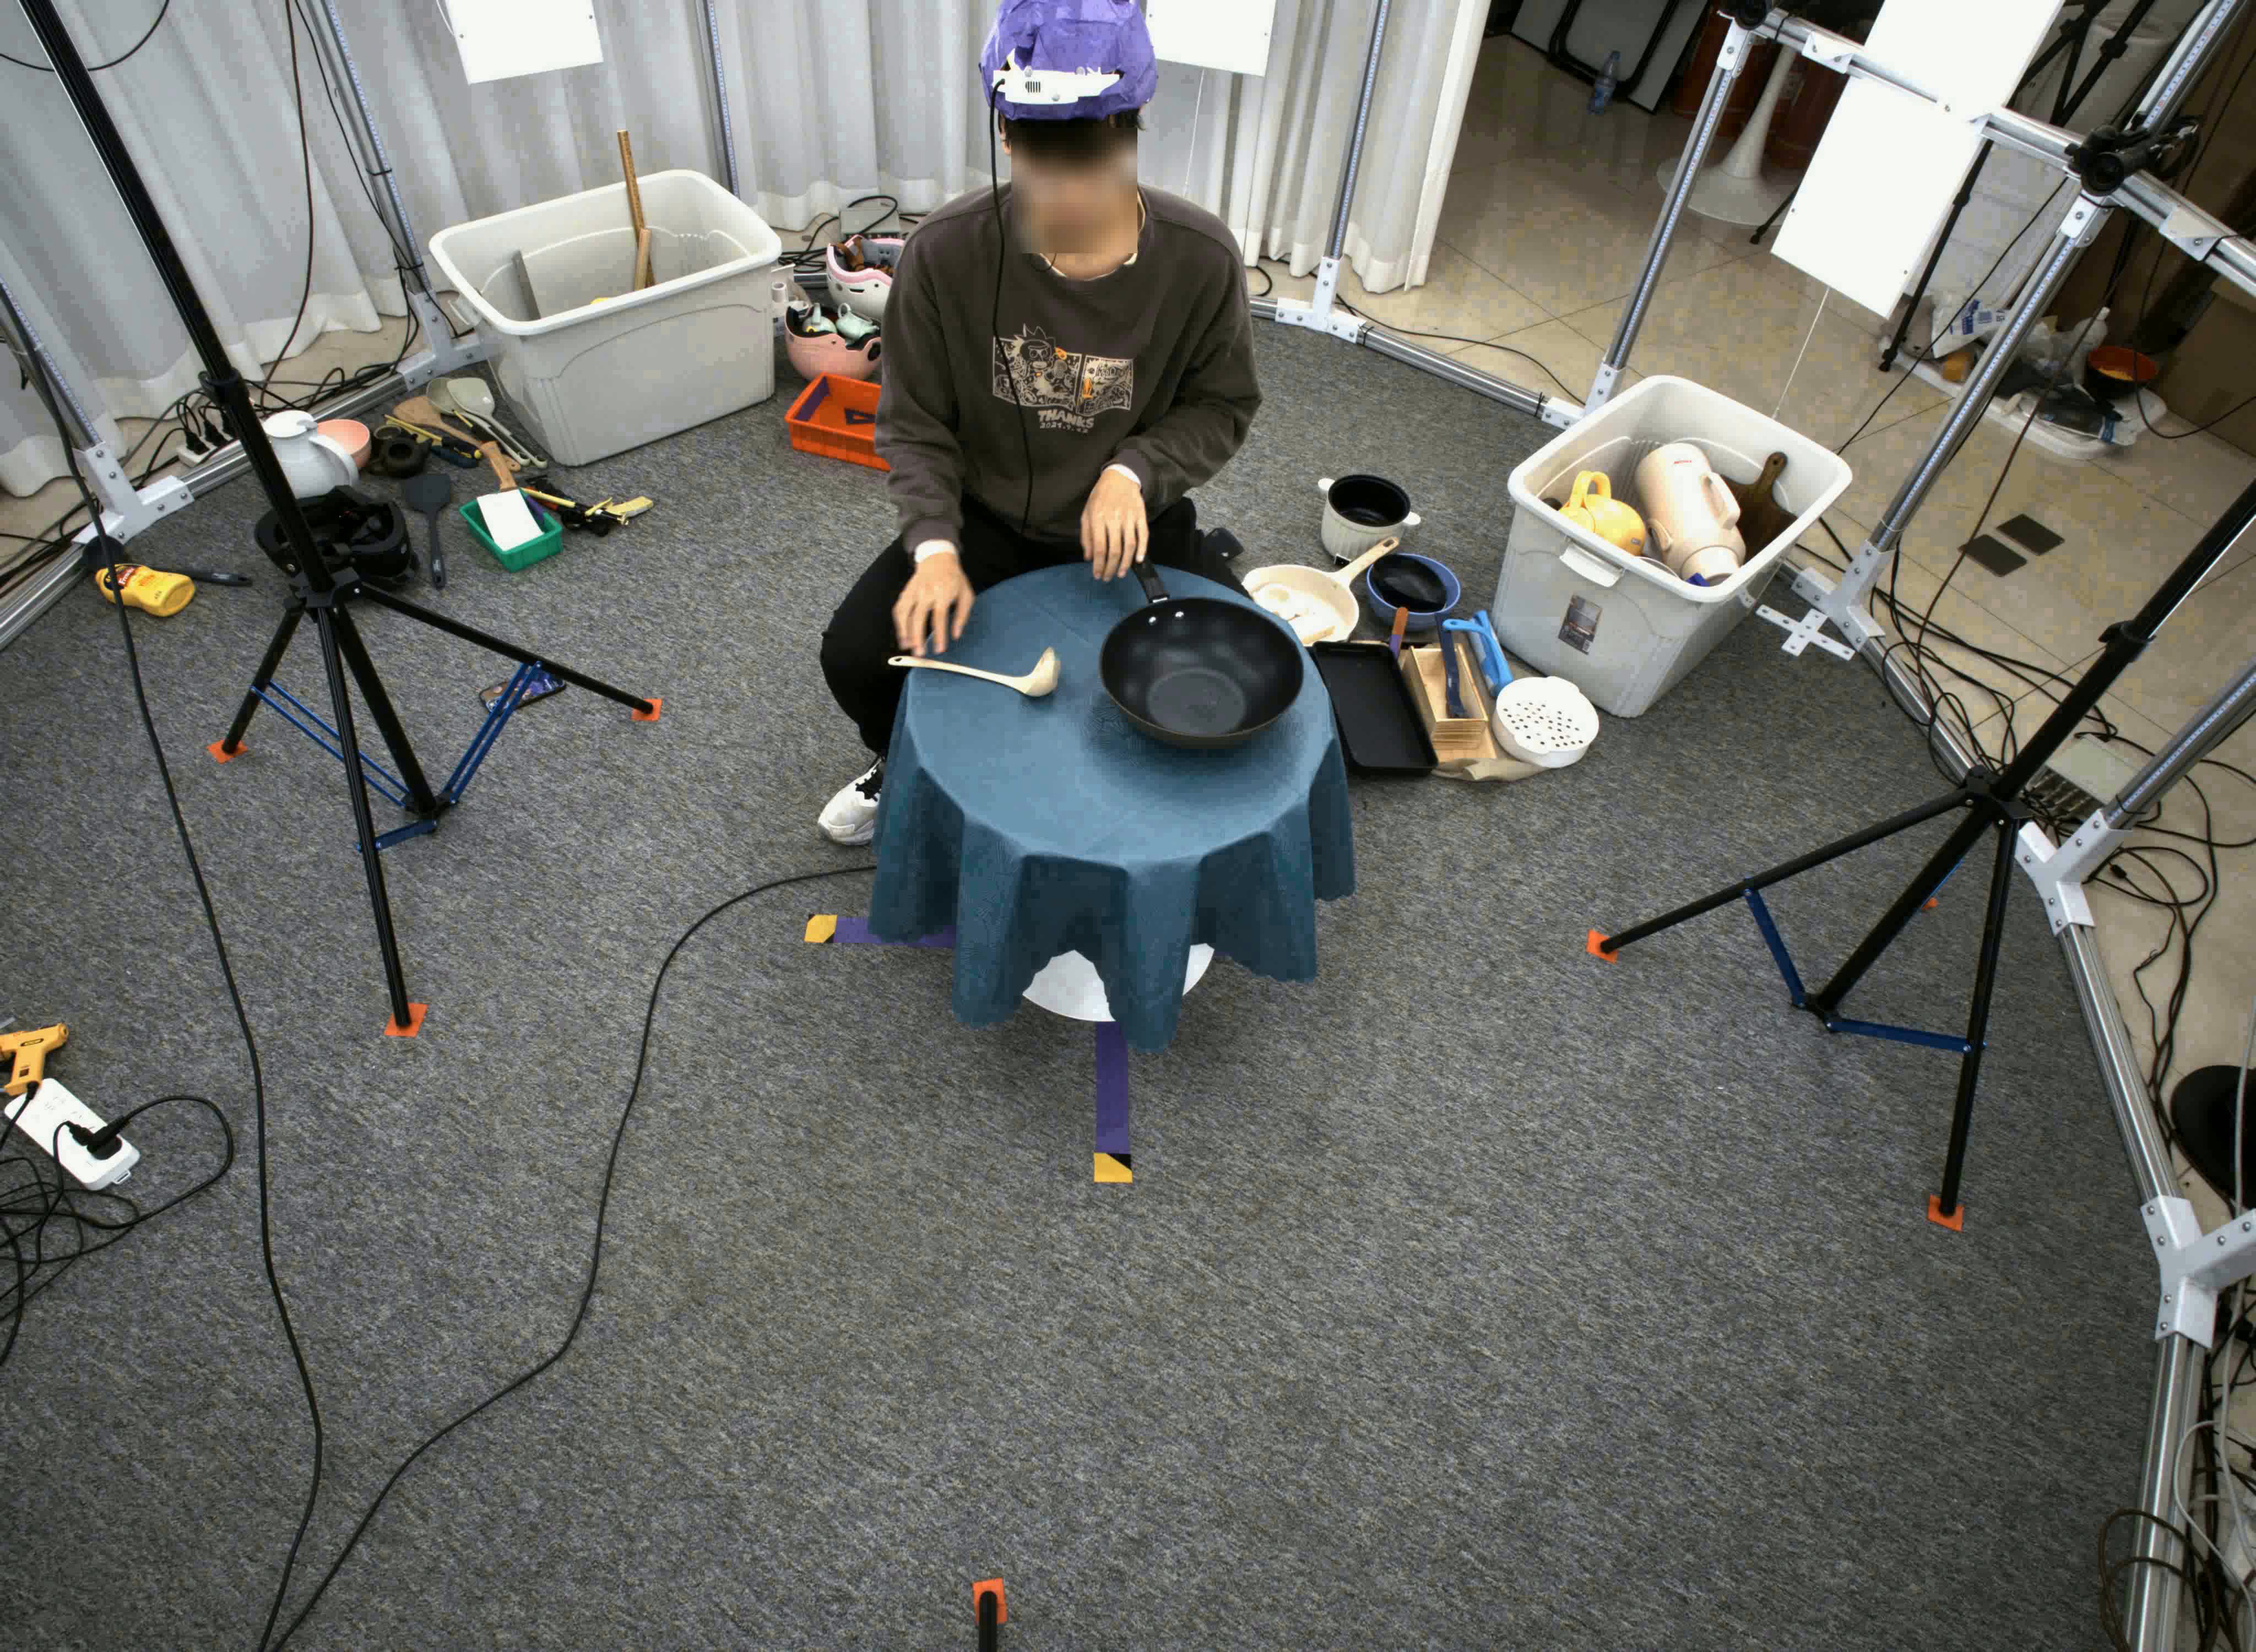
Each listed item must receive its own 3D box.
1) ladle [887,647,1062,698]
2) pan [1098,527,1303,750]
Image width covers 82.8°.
[{"bbox_3d":[-0.221,-0.234,1.813,0.255,0.071,0.074,10,53,7],"label":"ladle"},{"bbox_3d":[0.066,-0.264,1.846,0.288,0.085,0.474,-14,50,-15],"label":"pan"}]
